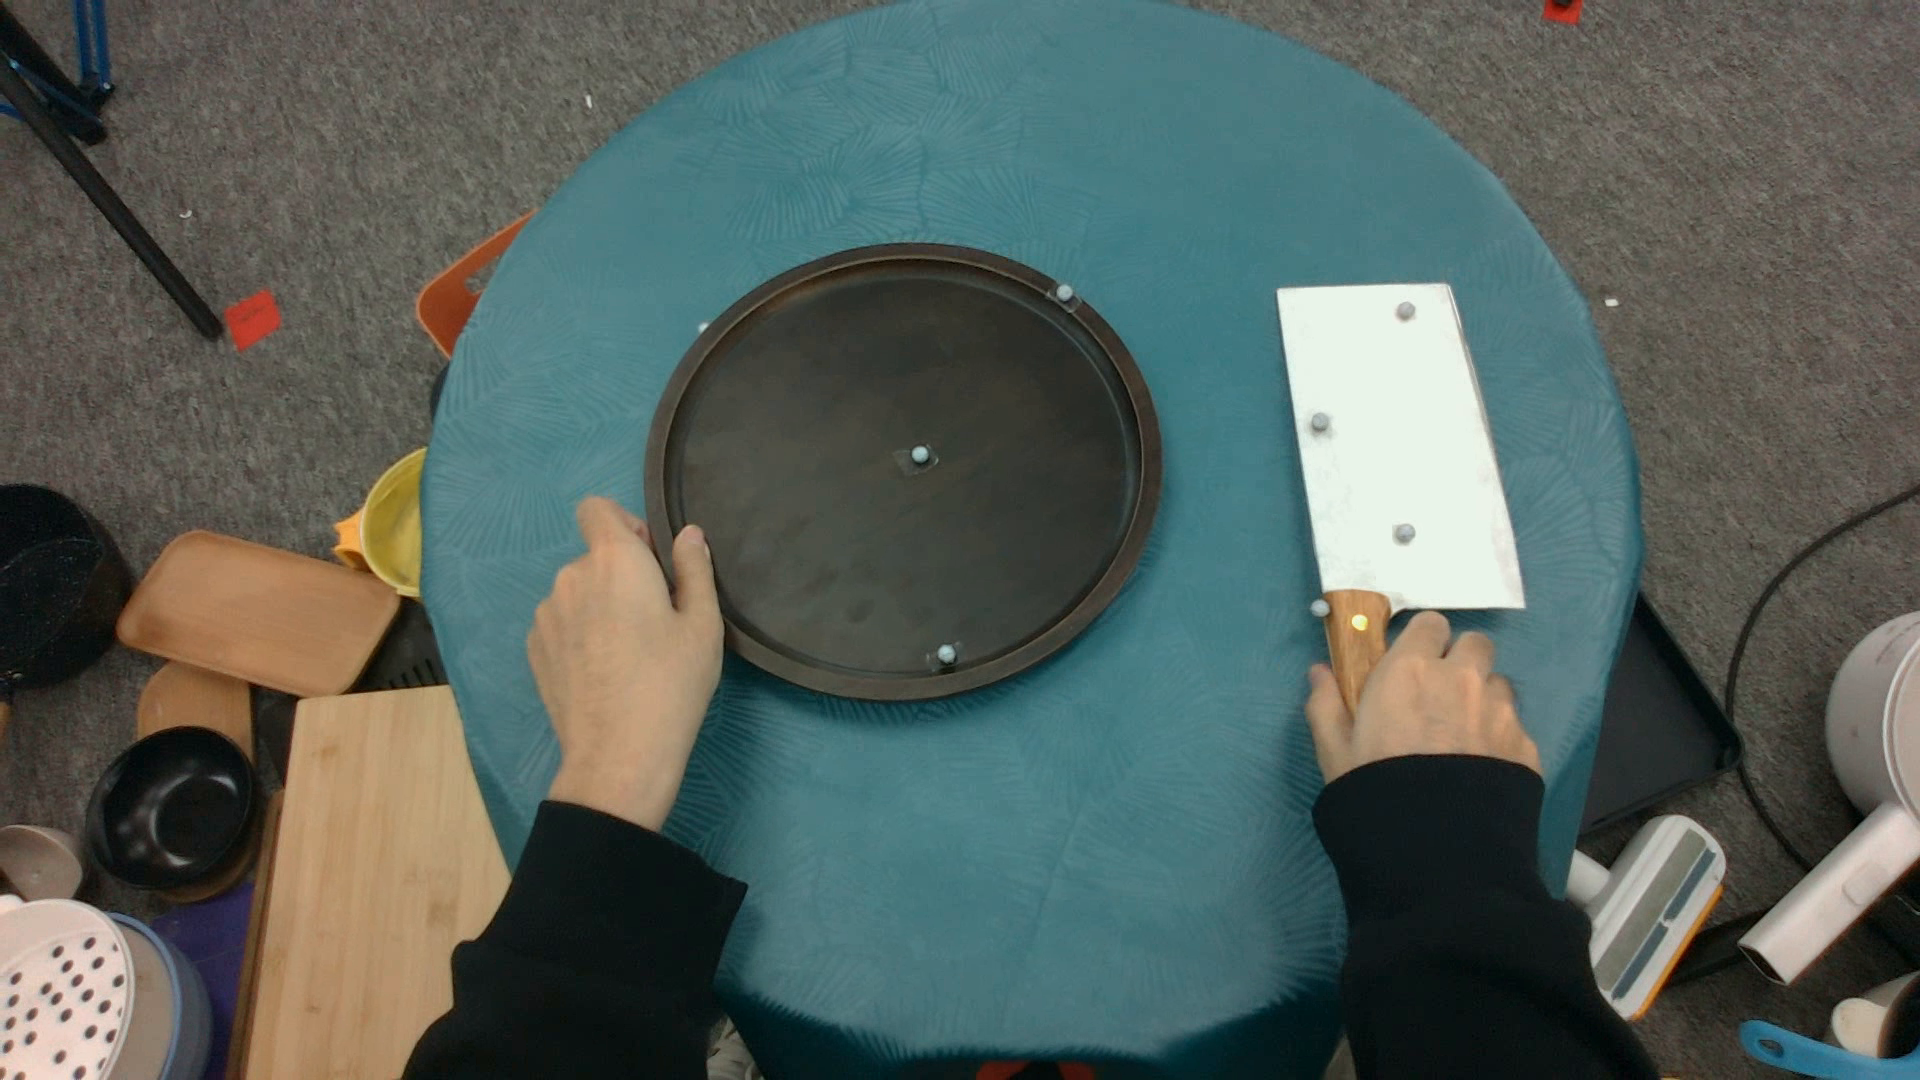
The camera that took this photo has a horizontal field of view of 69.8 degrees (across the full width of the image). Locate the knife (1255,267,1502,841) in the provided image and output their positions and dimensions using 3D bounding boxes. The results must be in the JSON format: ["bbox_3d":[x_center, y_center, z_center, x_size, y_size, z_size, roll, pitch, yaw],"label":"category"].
[{"bbox_3d":[0.201,-0.010,0.646,0.093,0.021,0.307,-1,60,0],"label":"knife"}]

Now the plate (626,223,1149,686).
[{"bbox_3d":[-0.035,-0.047,0.672,0.255,0.029,0.256,0,63,0],"label":"plate"}]
